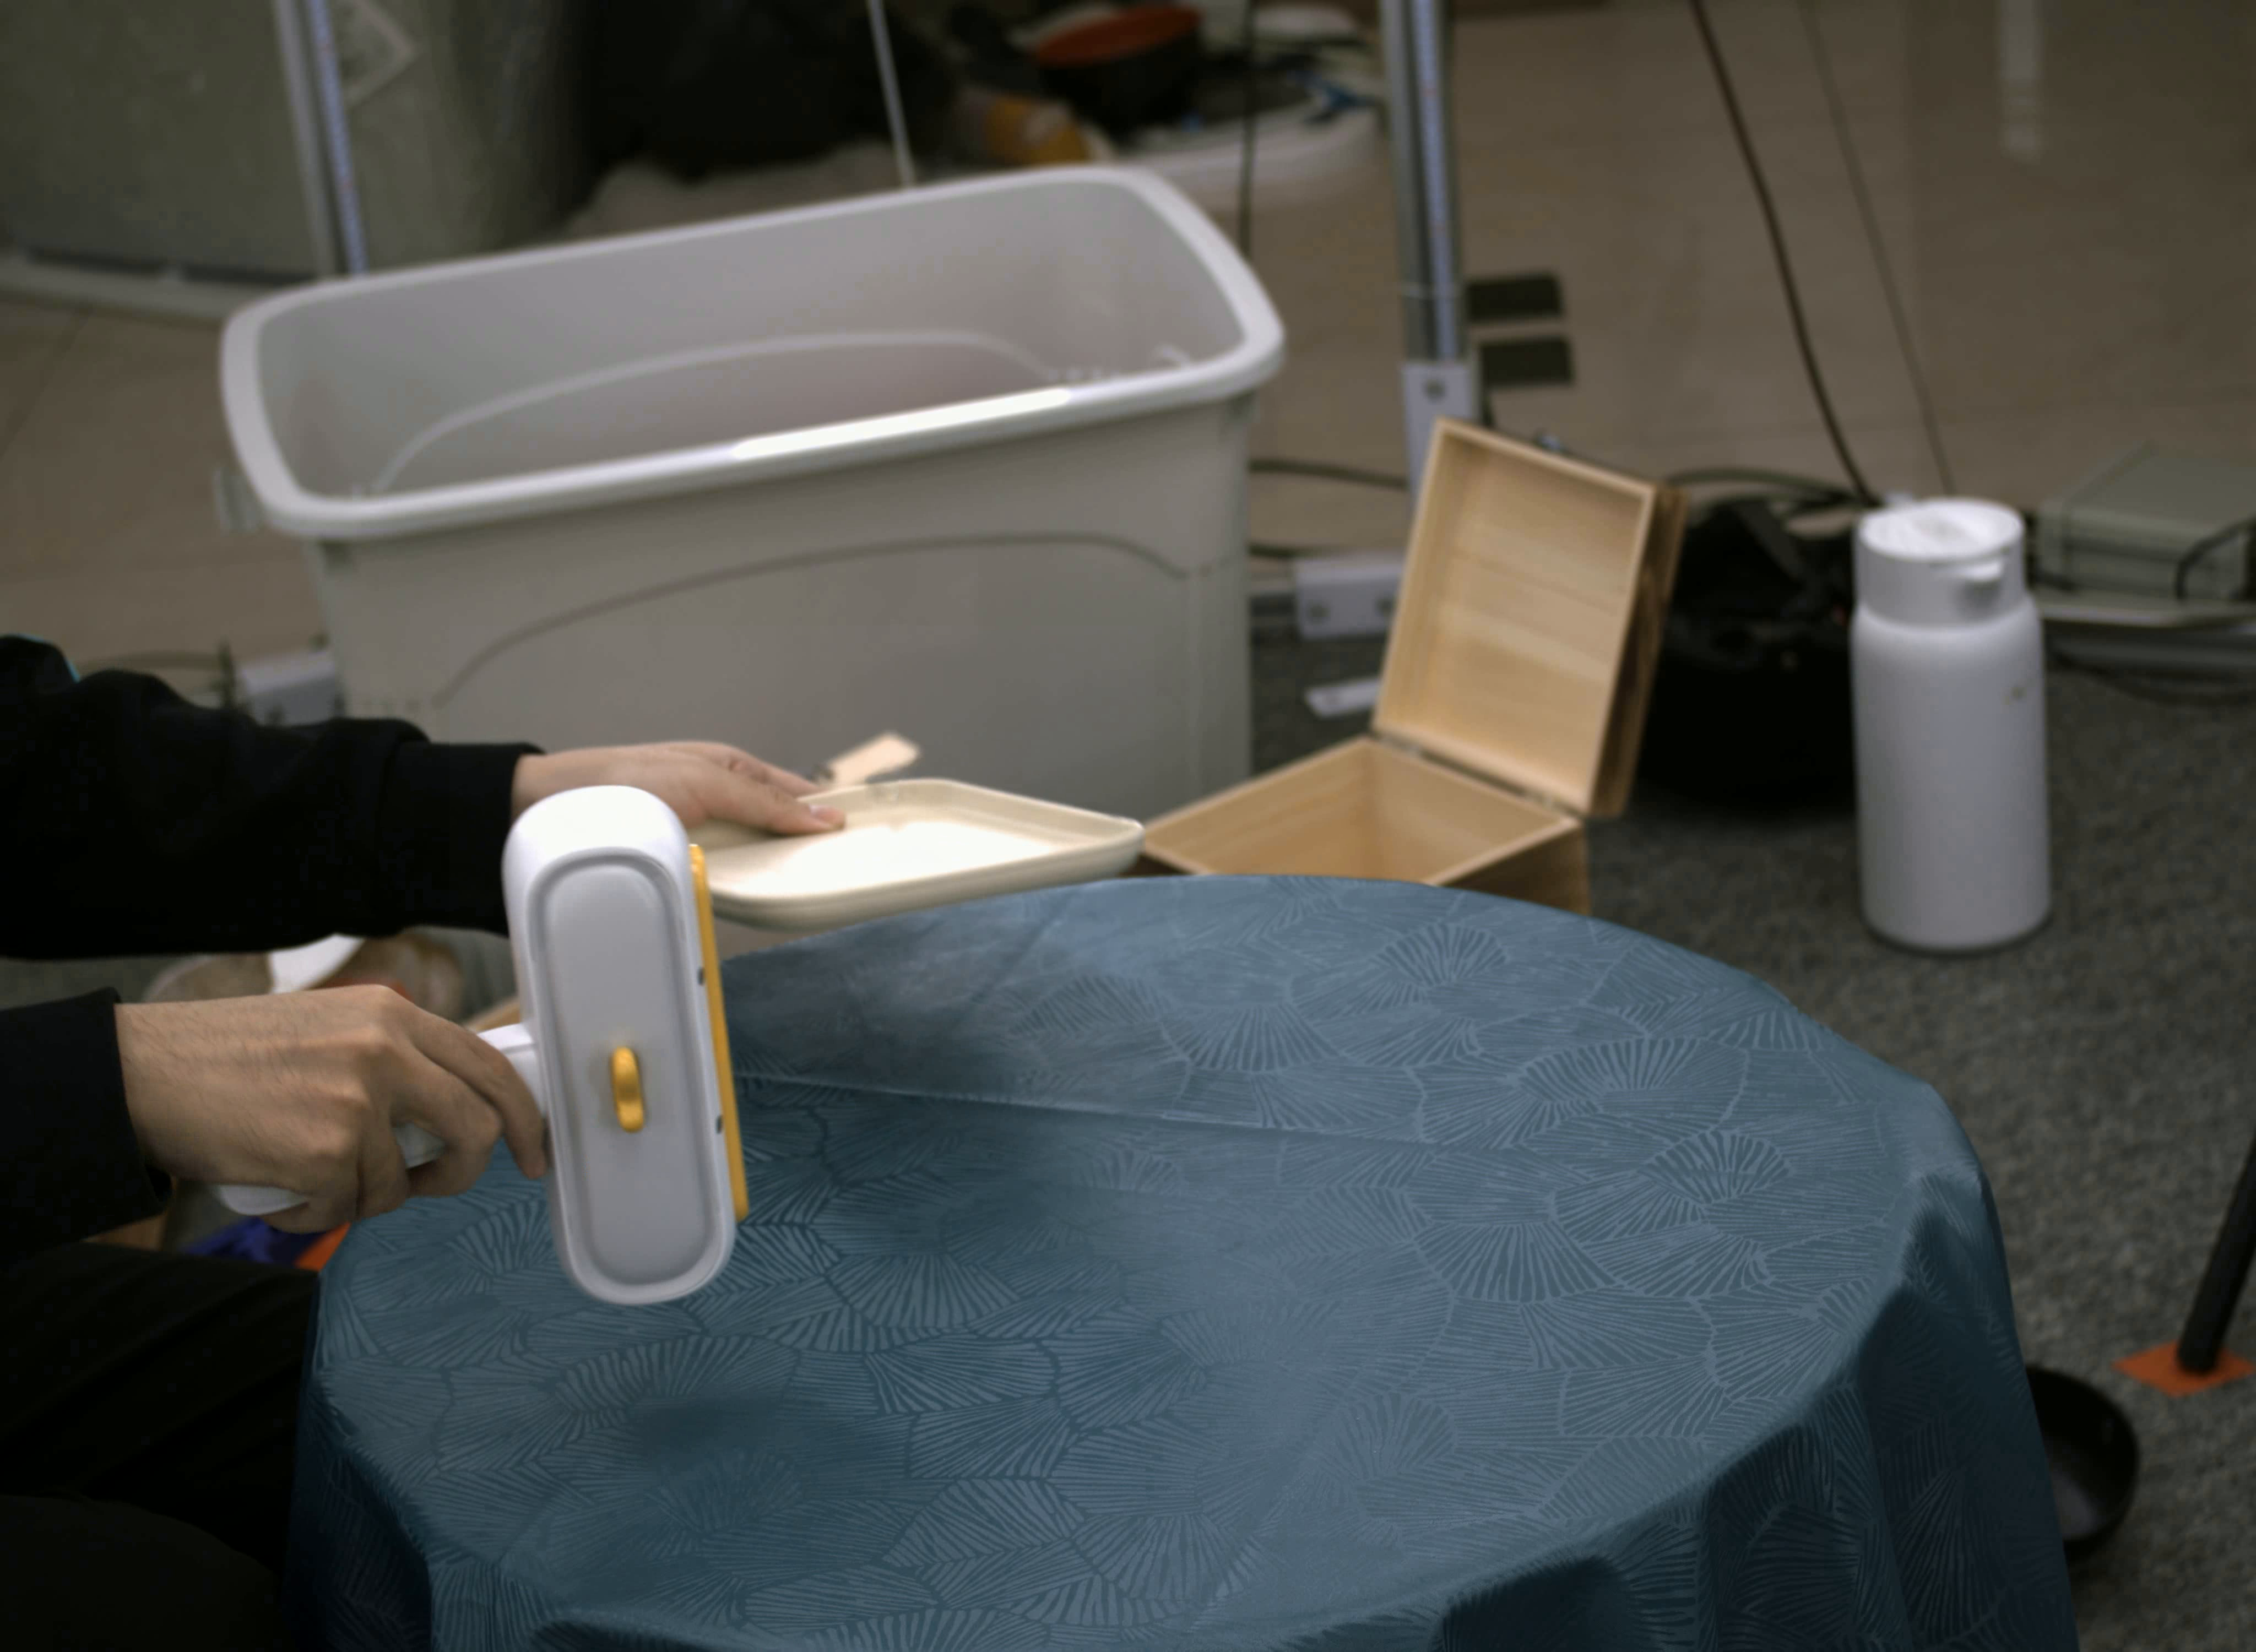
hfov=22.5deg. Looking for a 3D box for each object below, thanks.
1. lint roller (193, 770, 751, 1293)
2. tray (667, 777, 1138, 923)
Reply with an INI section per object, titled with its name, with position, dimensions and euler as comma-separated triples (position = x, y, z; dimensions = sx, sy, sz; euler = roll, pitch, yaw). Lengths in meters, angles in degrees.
[lint roller]
position = -0.233, 0.090, 1.963
dimensions = 0.192, 0.196, 0.073
euler = -15, 28, -13
[tray]
position = -0.111, 0.009, 2.233
dimensions = 0.170, 0.017, 0.238
euler = -11, 9, -23
